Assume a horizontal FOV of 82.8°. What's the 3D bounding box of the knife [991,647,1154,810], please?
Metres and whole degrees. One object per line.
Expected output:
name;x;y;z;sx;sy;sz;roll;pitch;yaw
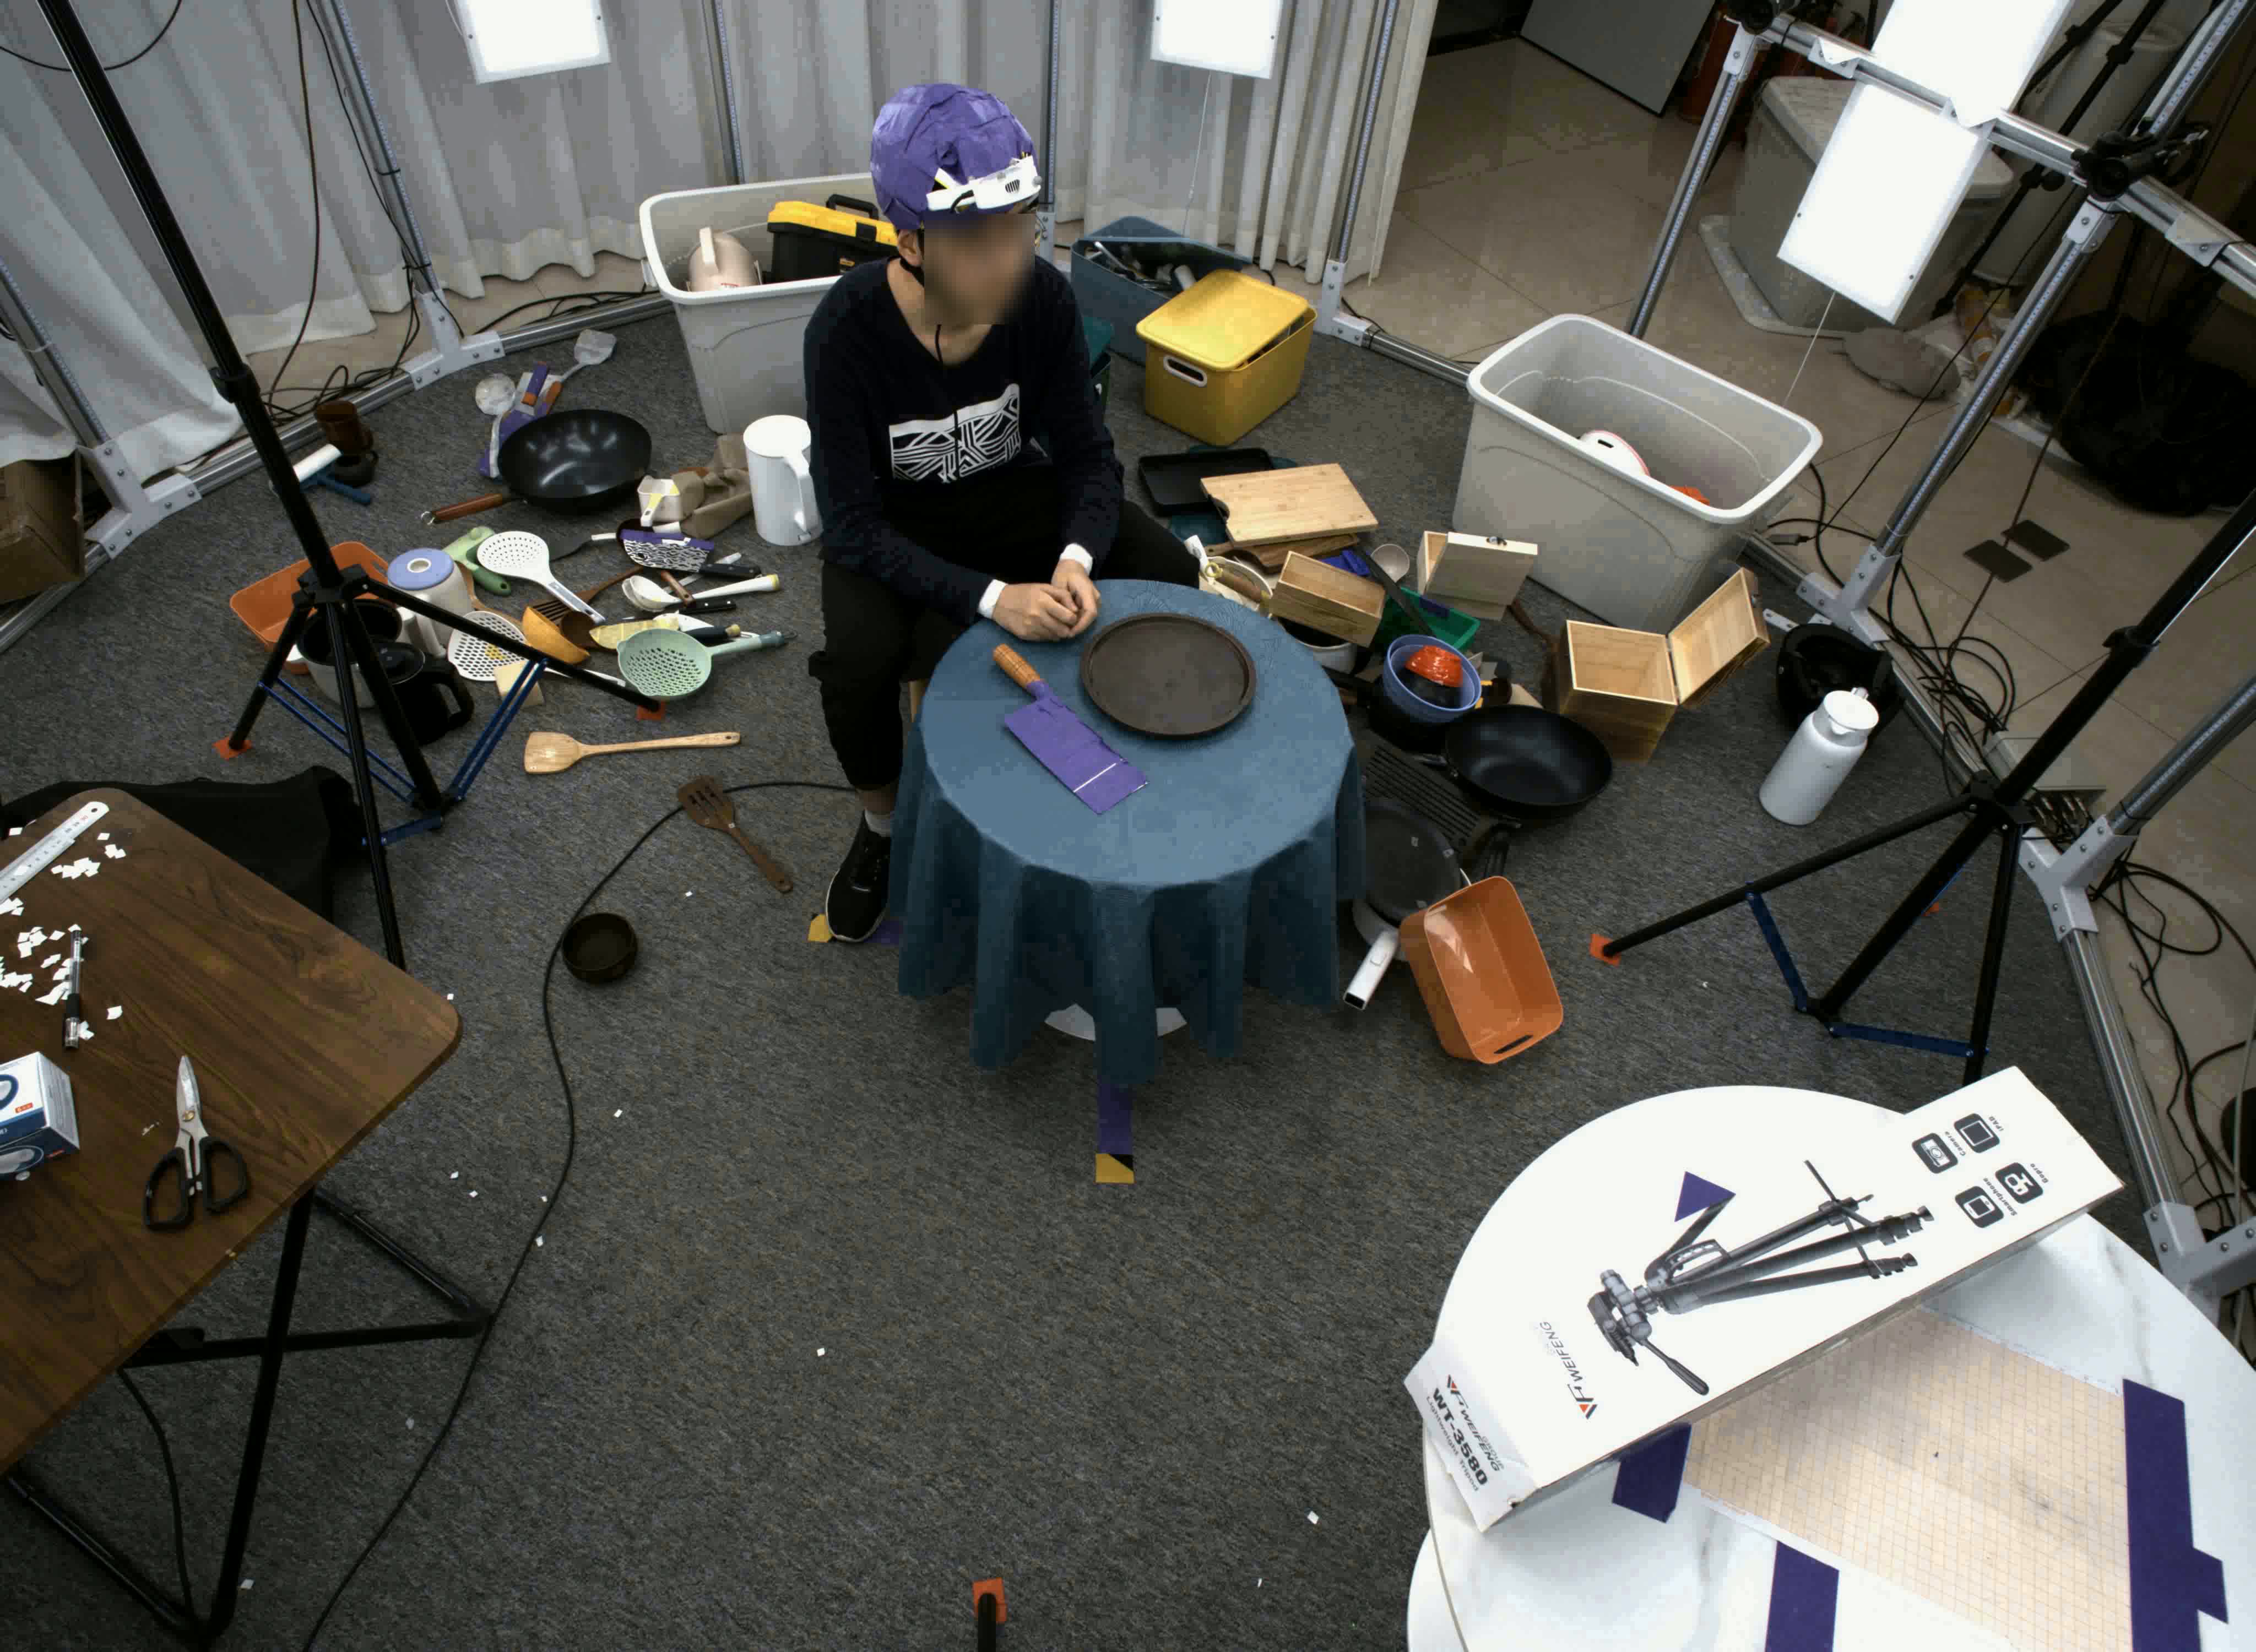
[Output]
knife;-0.105;-0.138;1.762;0.104;0.031;0.320;-32;59;-28

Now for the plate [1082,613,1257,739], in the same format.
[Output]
plate;0.059;-0.217;1.844;0.254;0.028;0.261;2;49;-3
